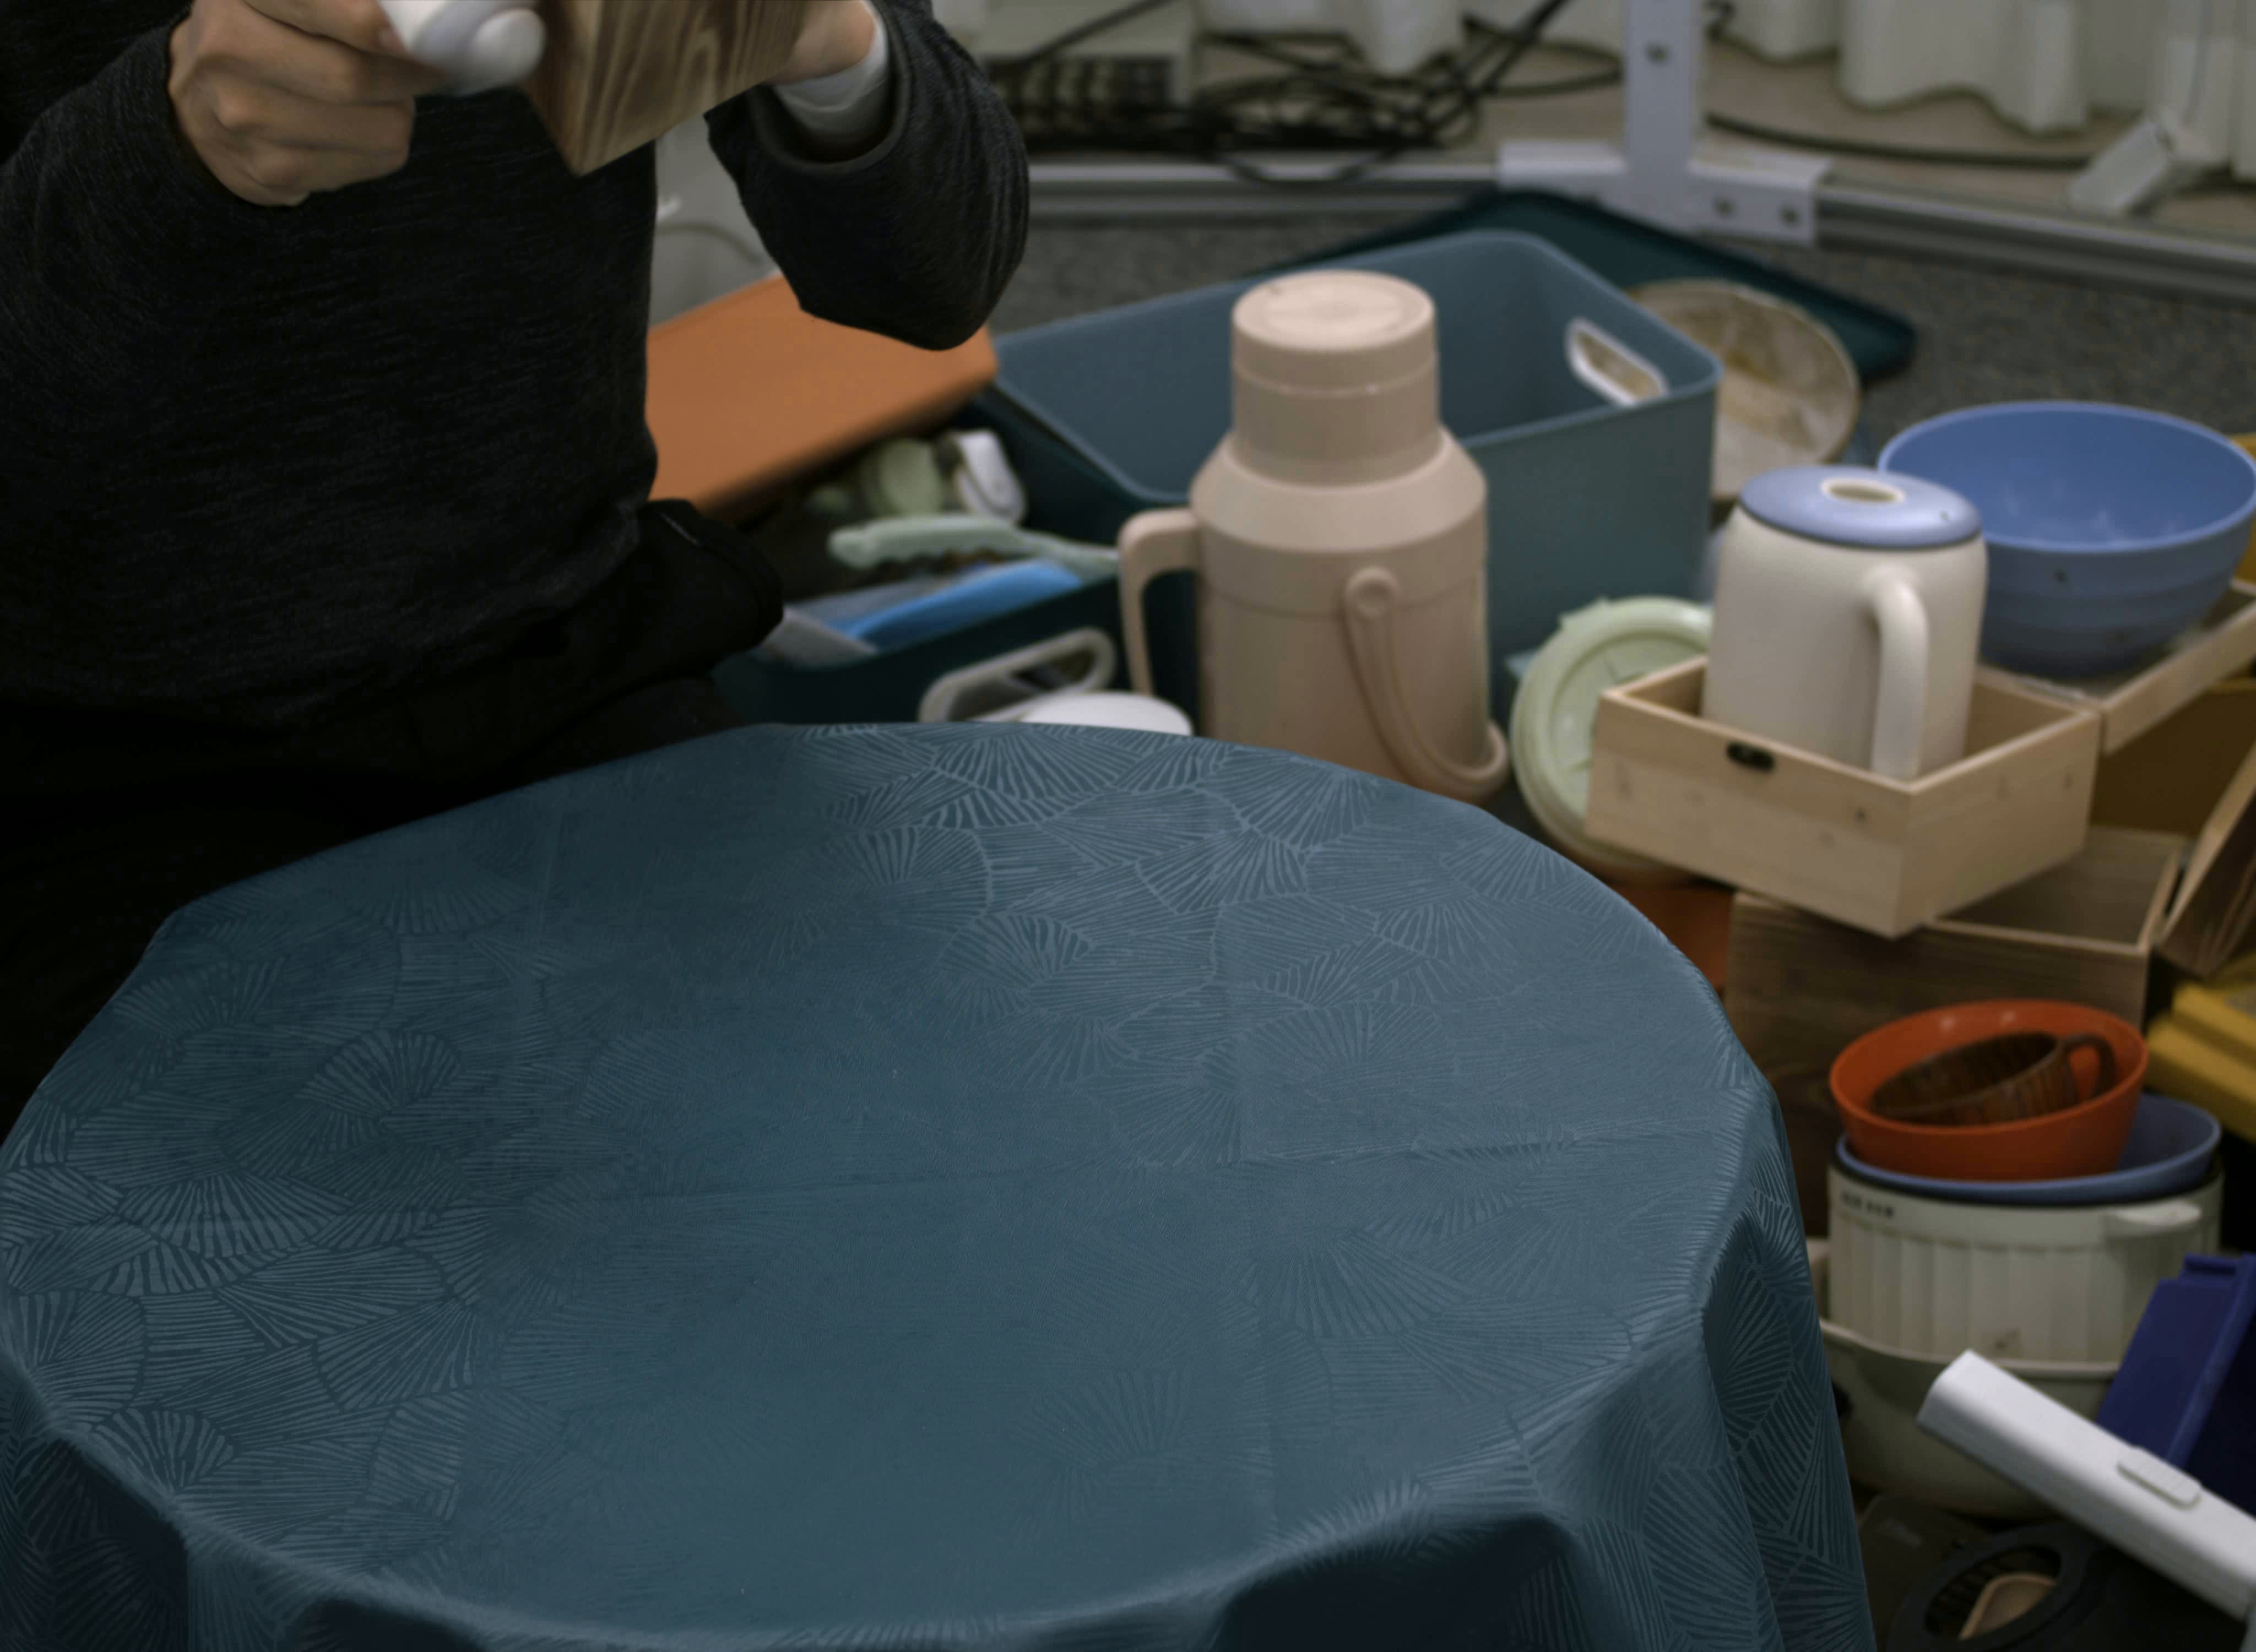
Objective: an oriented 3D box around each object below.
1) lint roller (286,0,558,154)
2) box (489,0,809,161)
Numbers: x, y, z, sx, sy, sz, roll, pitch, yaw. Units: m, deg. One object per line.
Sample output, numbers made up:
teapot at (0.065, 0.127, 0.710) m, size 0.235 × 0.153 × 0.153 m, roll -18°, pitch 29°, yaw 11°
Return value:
lint roller at (-0.242, -0.257, 1.742) m, size 0.051 × 0.133 × 0.178 m, roll -25°, pitch -11°, yaw -36°
box at (-0.150, -0.294, 1.700) m, size 0.080 × 0.108 × 0.209 m, roll -30°, pitch -5°, yaw -14°
